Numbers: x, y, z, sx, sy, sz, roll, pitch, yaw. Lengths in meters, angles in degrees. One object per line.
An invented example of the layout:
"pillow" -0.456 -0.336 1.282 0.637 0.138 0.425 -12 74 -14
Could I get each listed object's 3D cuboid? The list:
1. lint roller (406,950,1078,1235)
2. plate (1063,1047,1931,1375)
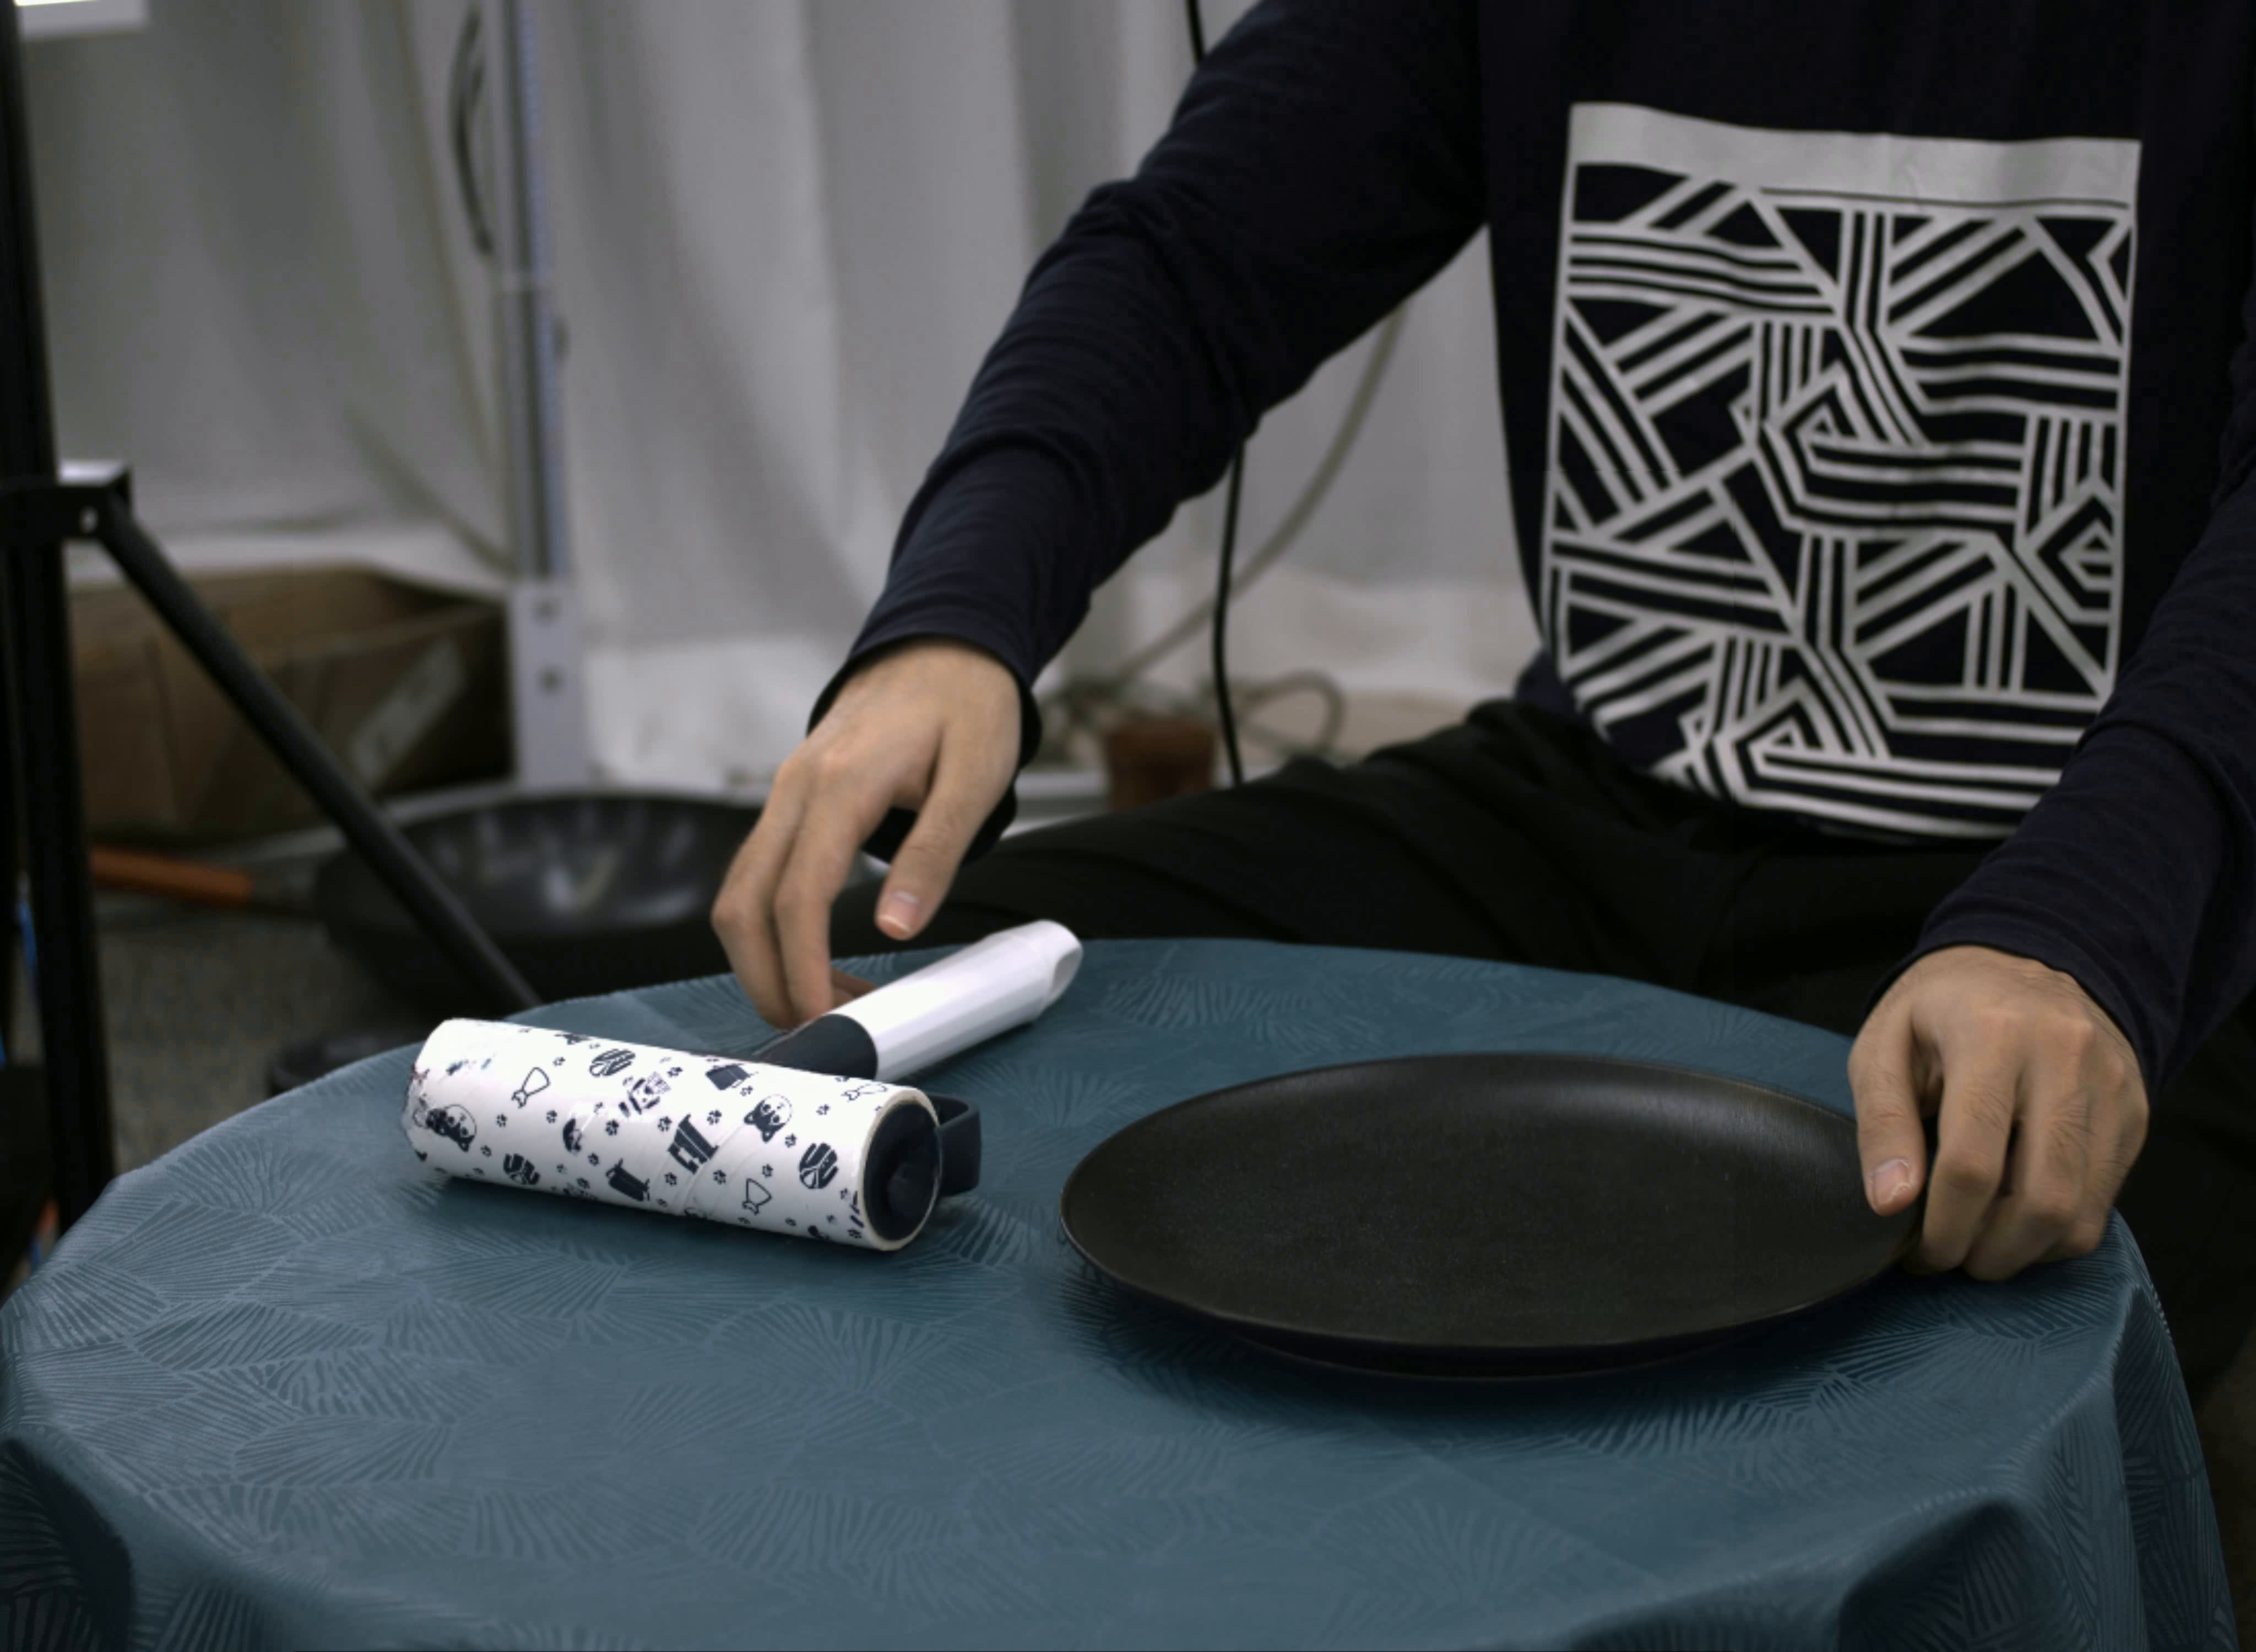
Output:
"lint roller" -0.085 0.067 1.645 0.179 0.050 0.242 6 15 30
"plate" 0.103 0.111 1.489 0.243 0.023 0.245 -4 16 0
